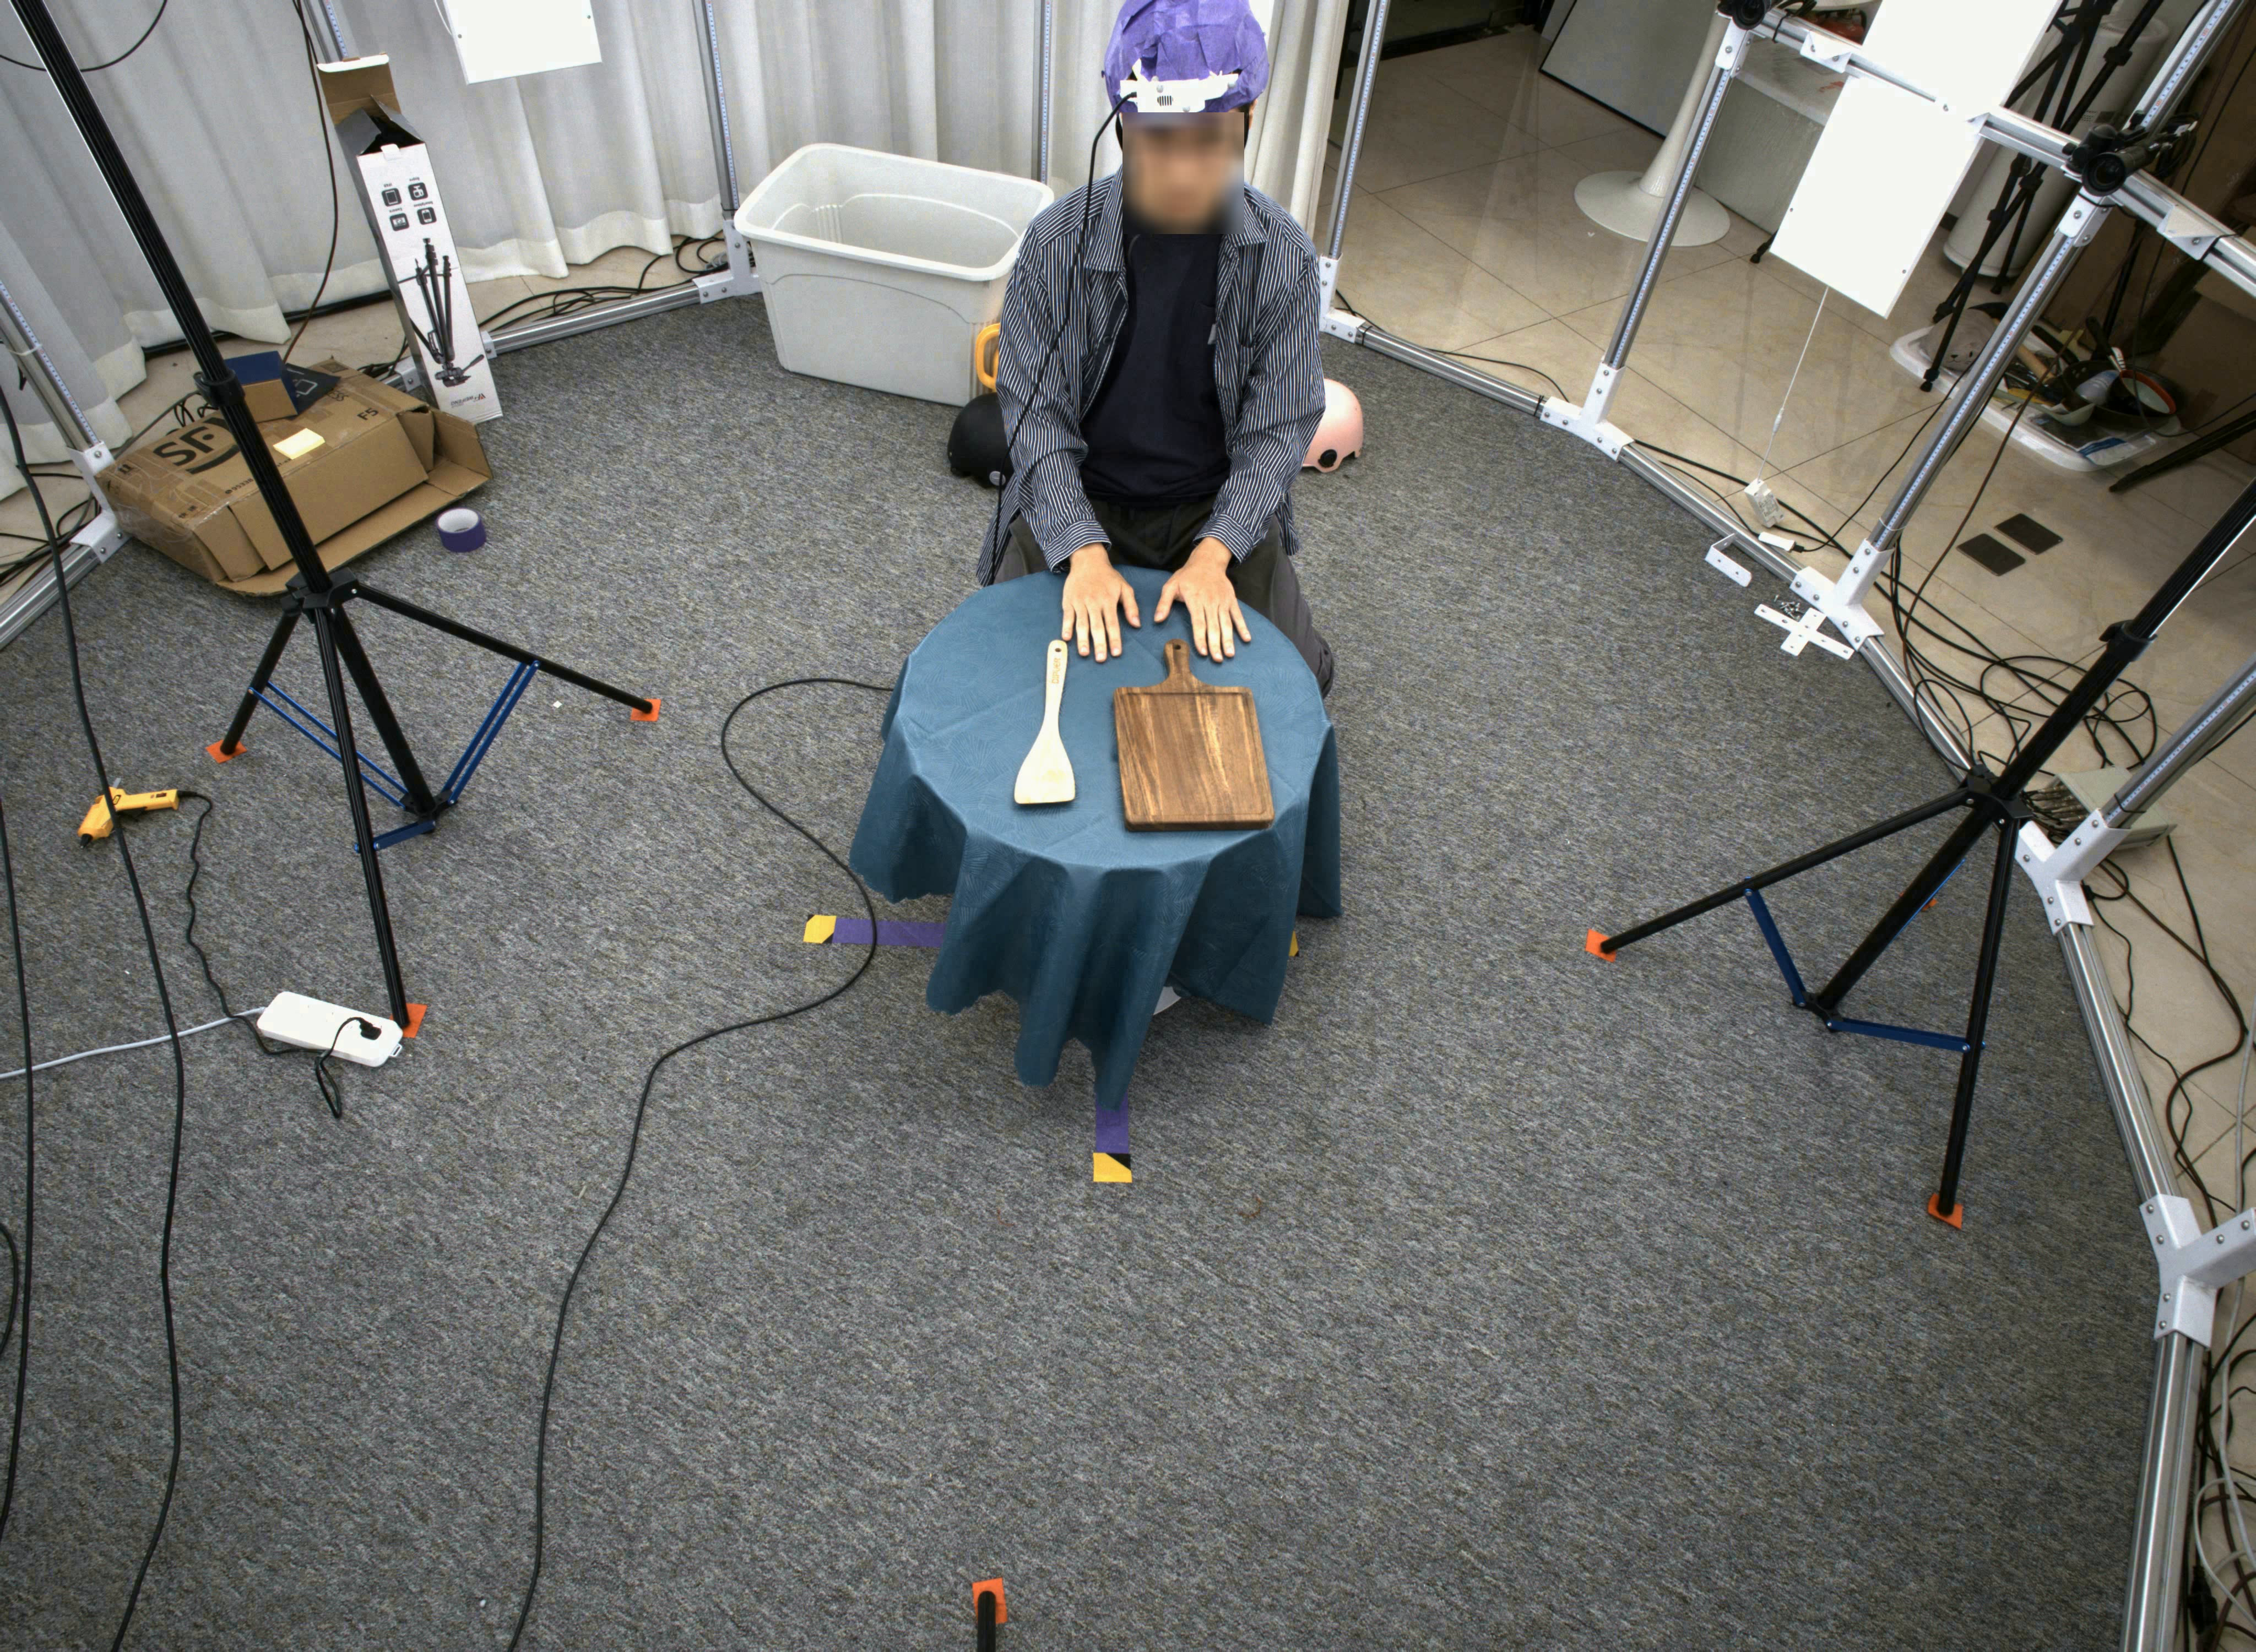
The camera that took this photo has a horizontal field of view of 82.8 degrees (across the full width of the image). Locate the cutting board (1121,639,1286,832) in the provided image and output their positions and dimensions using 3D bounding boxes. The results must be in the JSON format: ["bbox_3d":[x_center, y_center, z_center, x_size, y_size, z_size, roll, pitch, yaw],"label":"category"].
[{"bbox_3d":[0.094,-0.133,1.768,0.201,0.022,0.361,0,49,-5],"label":"cutting board"}]

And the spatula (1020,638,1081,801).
[{"bbox_3d":[-0.102,-0.152,1.771,0.080,0.016,0.336,3,49,-3],"label":"spatula"}]
